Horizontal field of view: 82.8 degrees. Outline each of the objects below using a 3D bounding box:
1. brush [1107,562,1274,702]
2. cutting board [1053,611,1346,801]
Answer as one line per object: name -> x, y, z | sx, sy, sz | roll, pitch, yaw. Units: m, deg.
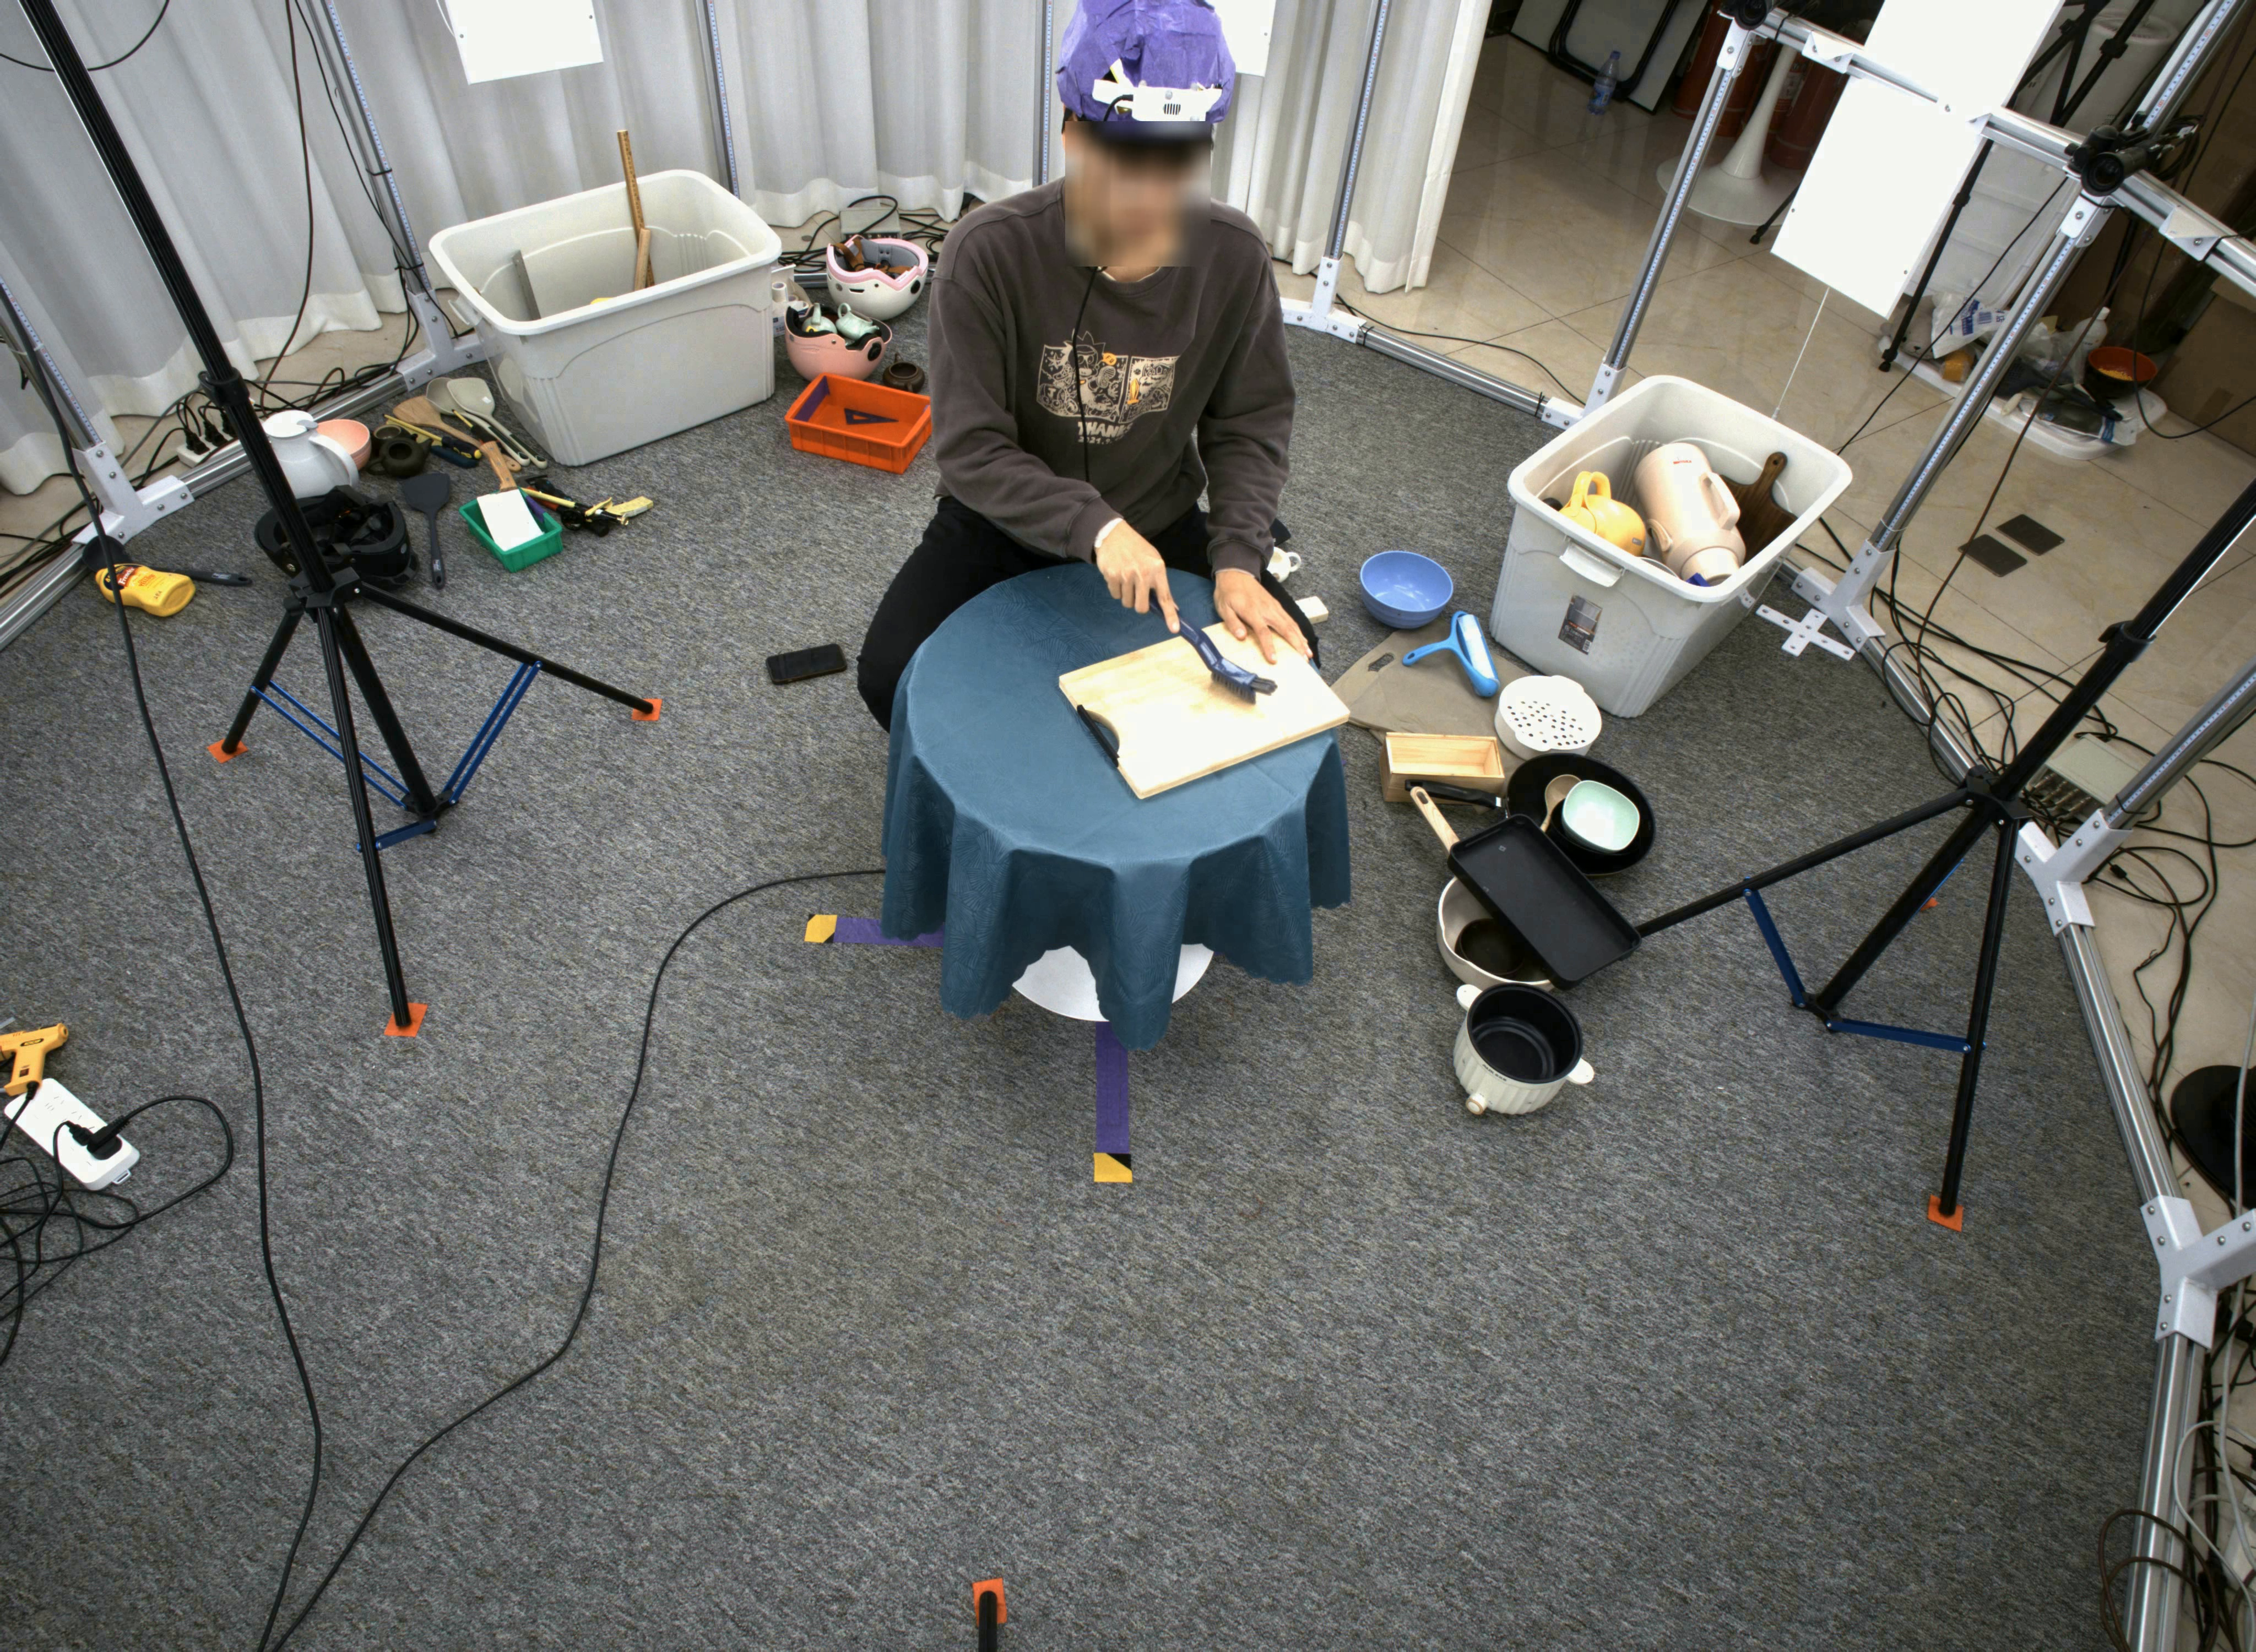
brush -> 0.086, -0.274, 1.782 | 0.273, 0.095, 0.034 | 44, 70, -2
cutting board -> 0.102, -0.178, 1.816 | 0.349, 0.023, 0.256 | -21, 53, -21
